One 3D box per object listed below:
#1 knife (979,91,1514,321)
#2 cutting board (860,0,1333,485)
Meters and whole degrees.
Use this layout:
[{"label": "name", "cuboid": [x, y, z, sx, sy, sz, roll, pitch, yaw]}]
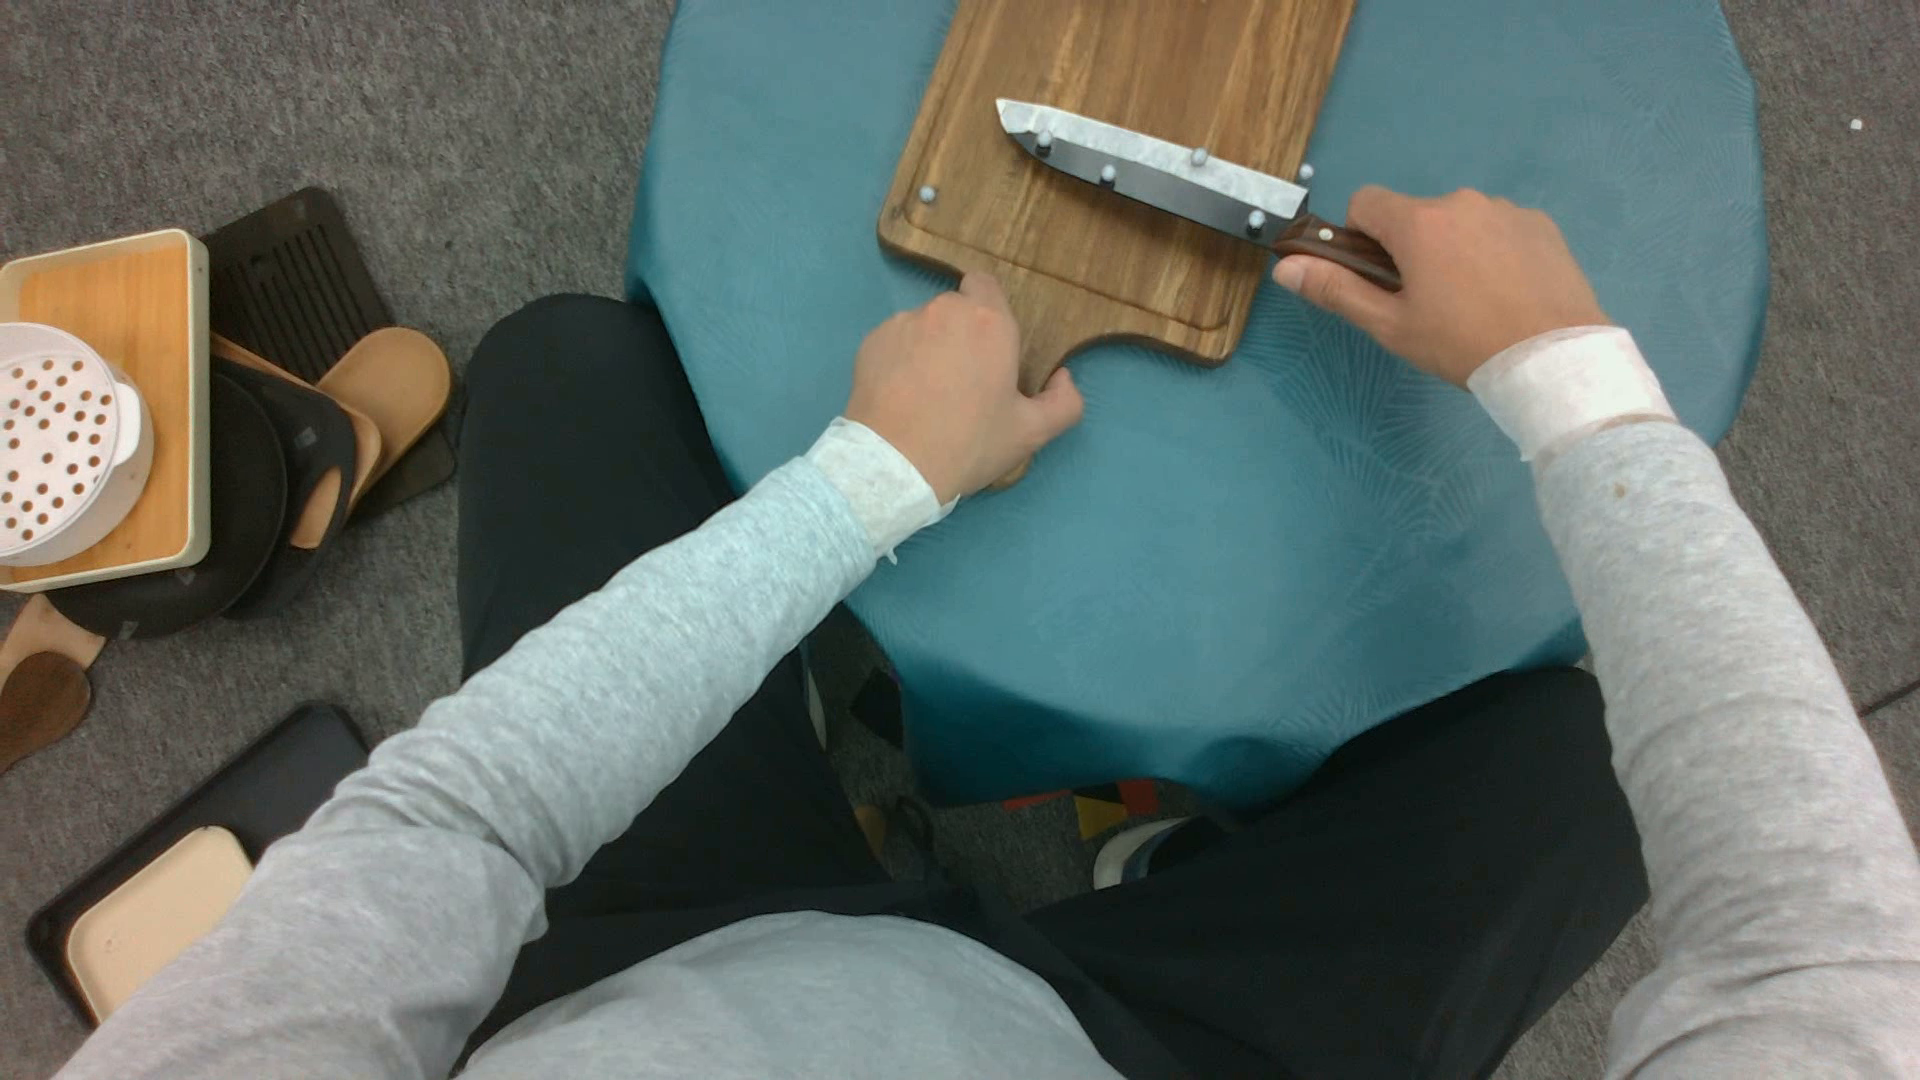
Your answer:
[{"label": "knife", "cuboid": [0.137, -0.172, 0.688, 0.289, 0.020, 0.050, 25, 61, 12]}, {"label": "cutting board", "cuboid": [0.062, -0.195, 0.722, 0.201, 0.023, 0.352, 19, 81, 1]}]
